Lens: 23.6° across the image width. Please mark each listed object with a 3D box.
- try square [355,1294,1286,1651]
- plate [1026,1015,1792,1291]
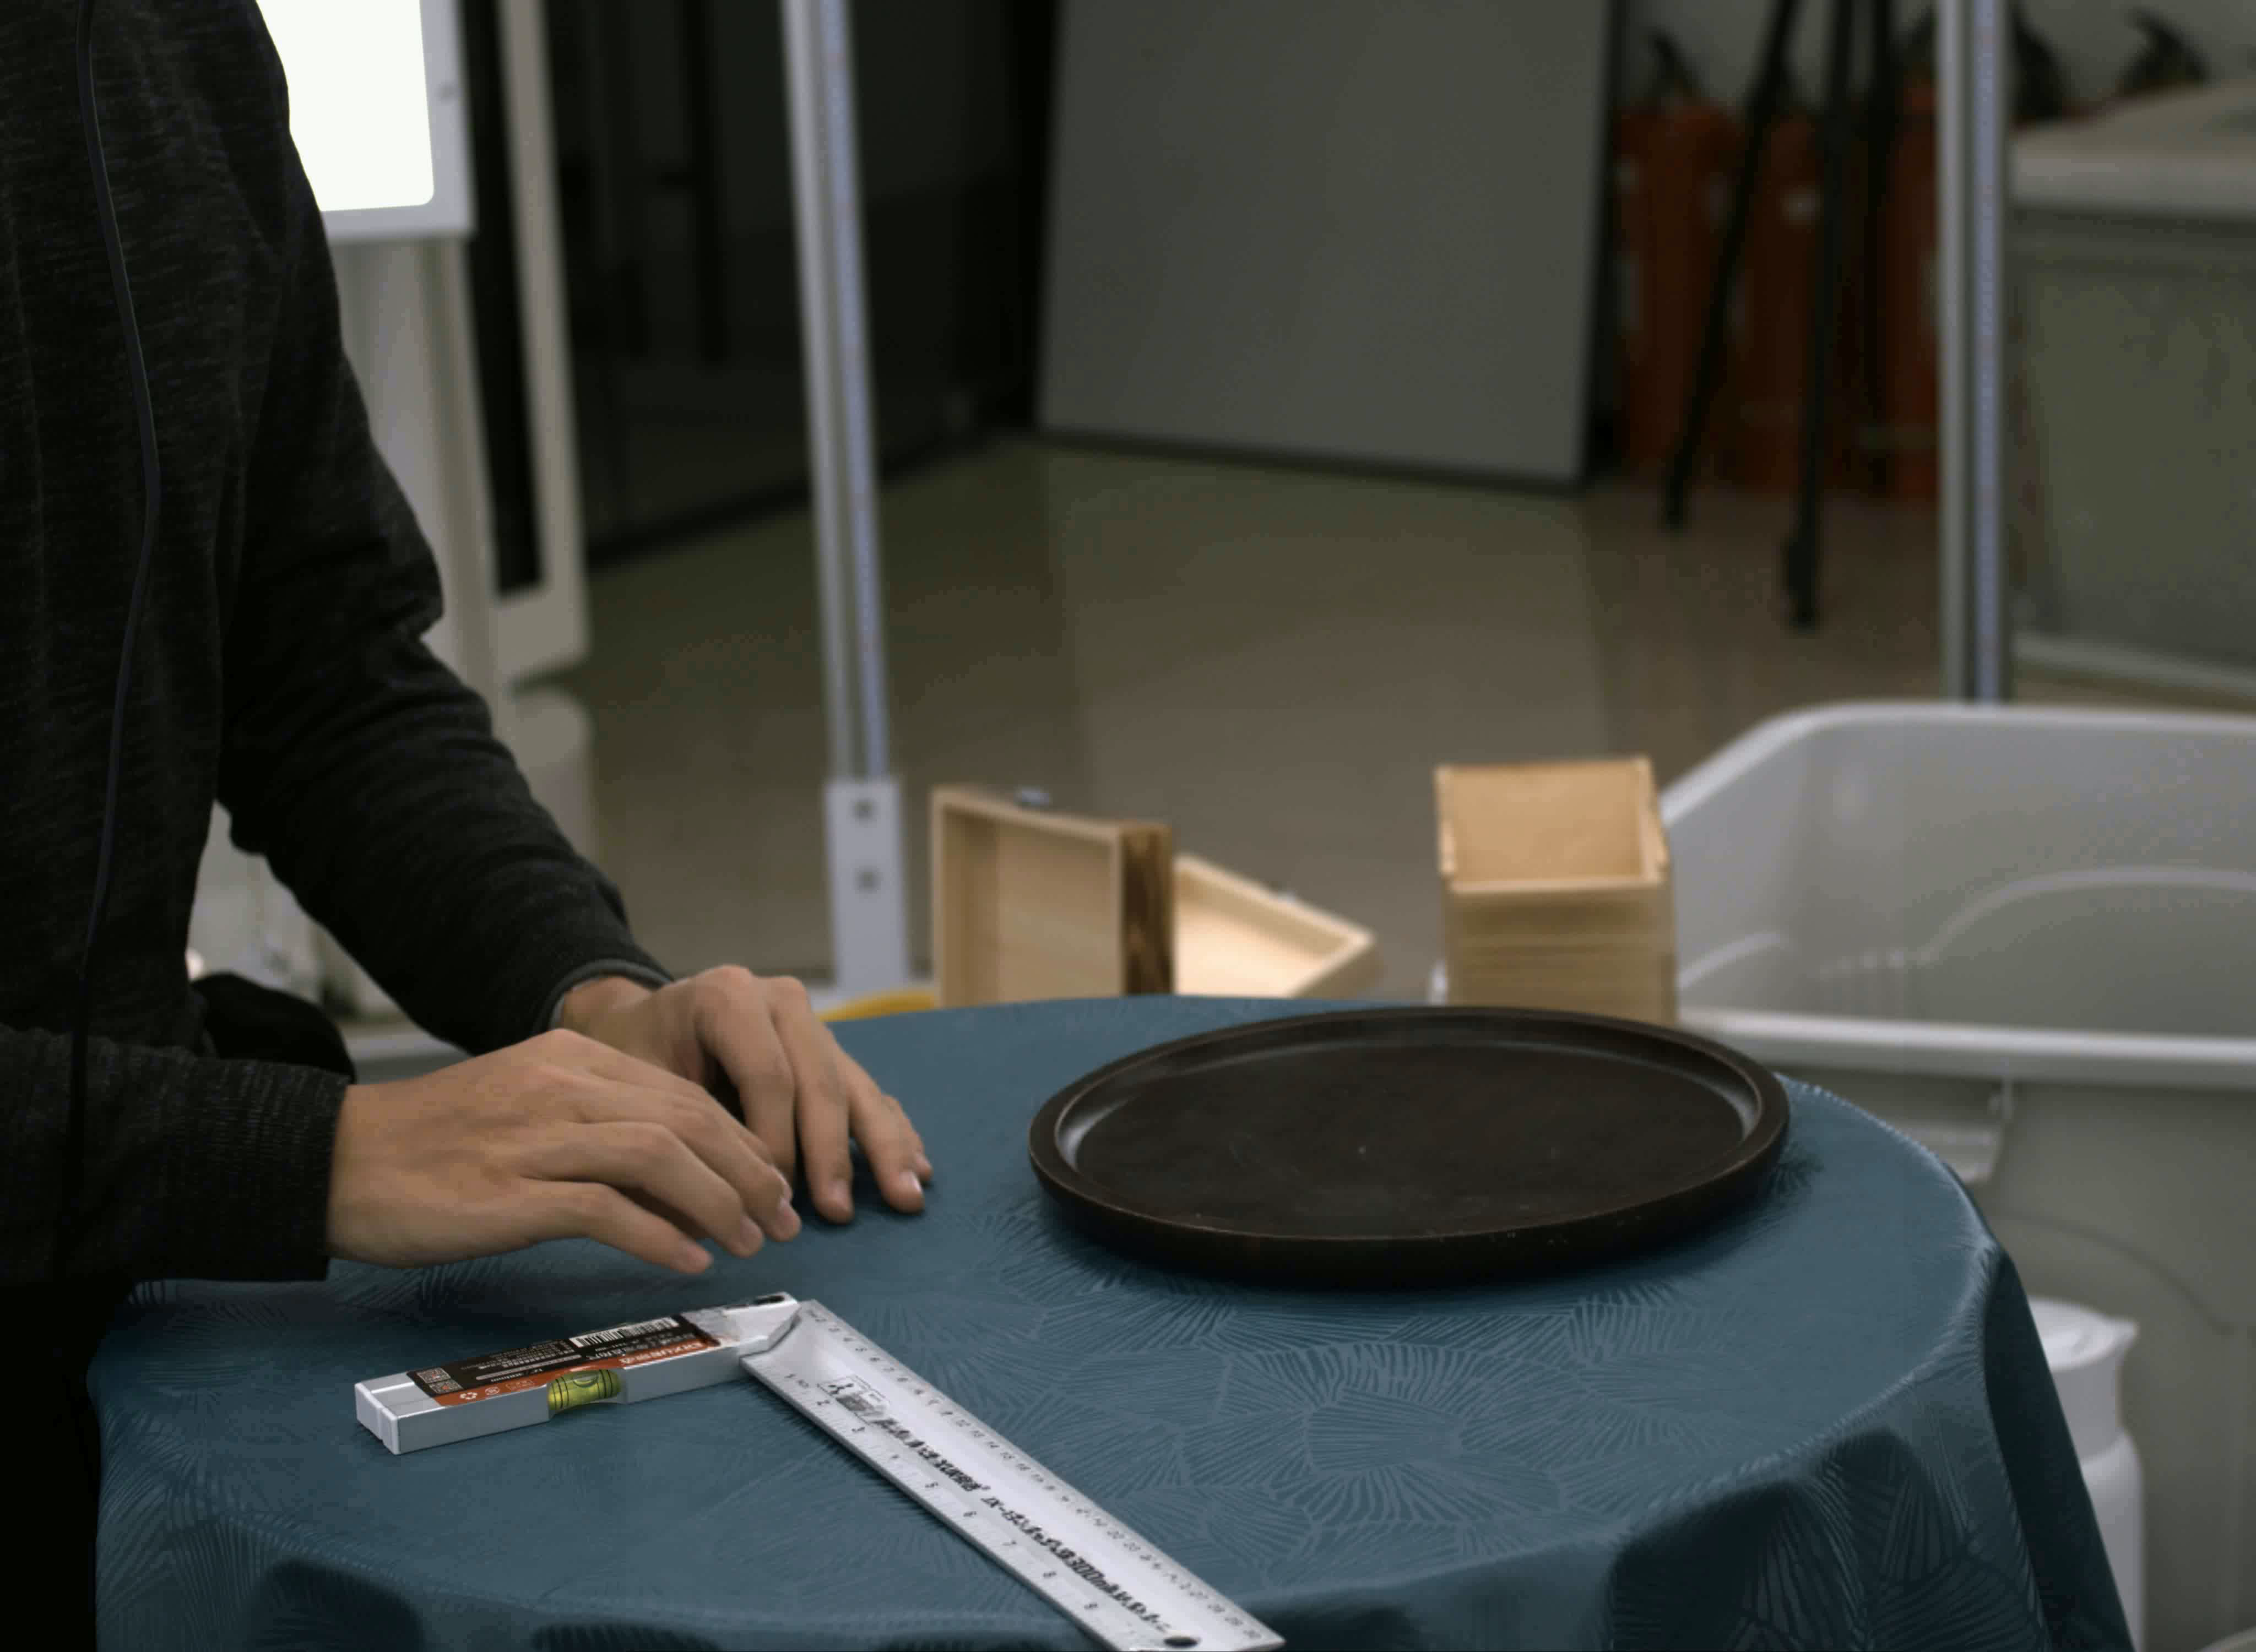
[{"bbox_3d":[-0.094,0.192,1.499,0.149,0.016,0.316,-12,17,-24],"label":"try square"},{"bbox_3d":[0.092,0.104,1.762,0.251,0.029,0.255,-4,15,0],"label":"plate"}]
